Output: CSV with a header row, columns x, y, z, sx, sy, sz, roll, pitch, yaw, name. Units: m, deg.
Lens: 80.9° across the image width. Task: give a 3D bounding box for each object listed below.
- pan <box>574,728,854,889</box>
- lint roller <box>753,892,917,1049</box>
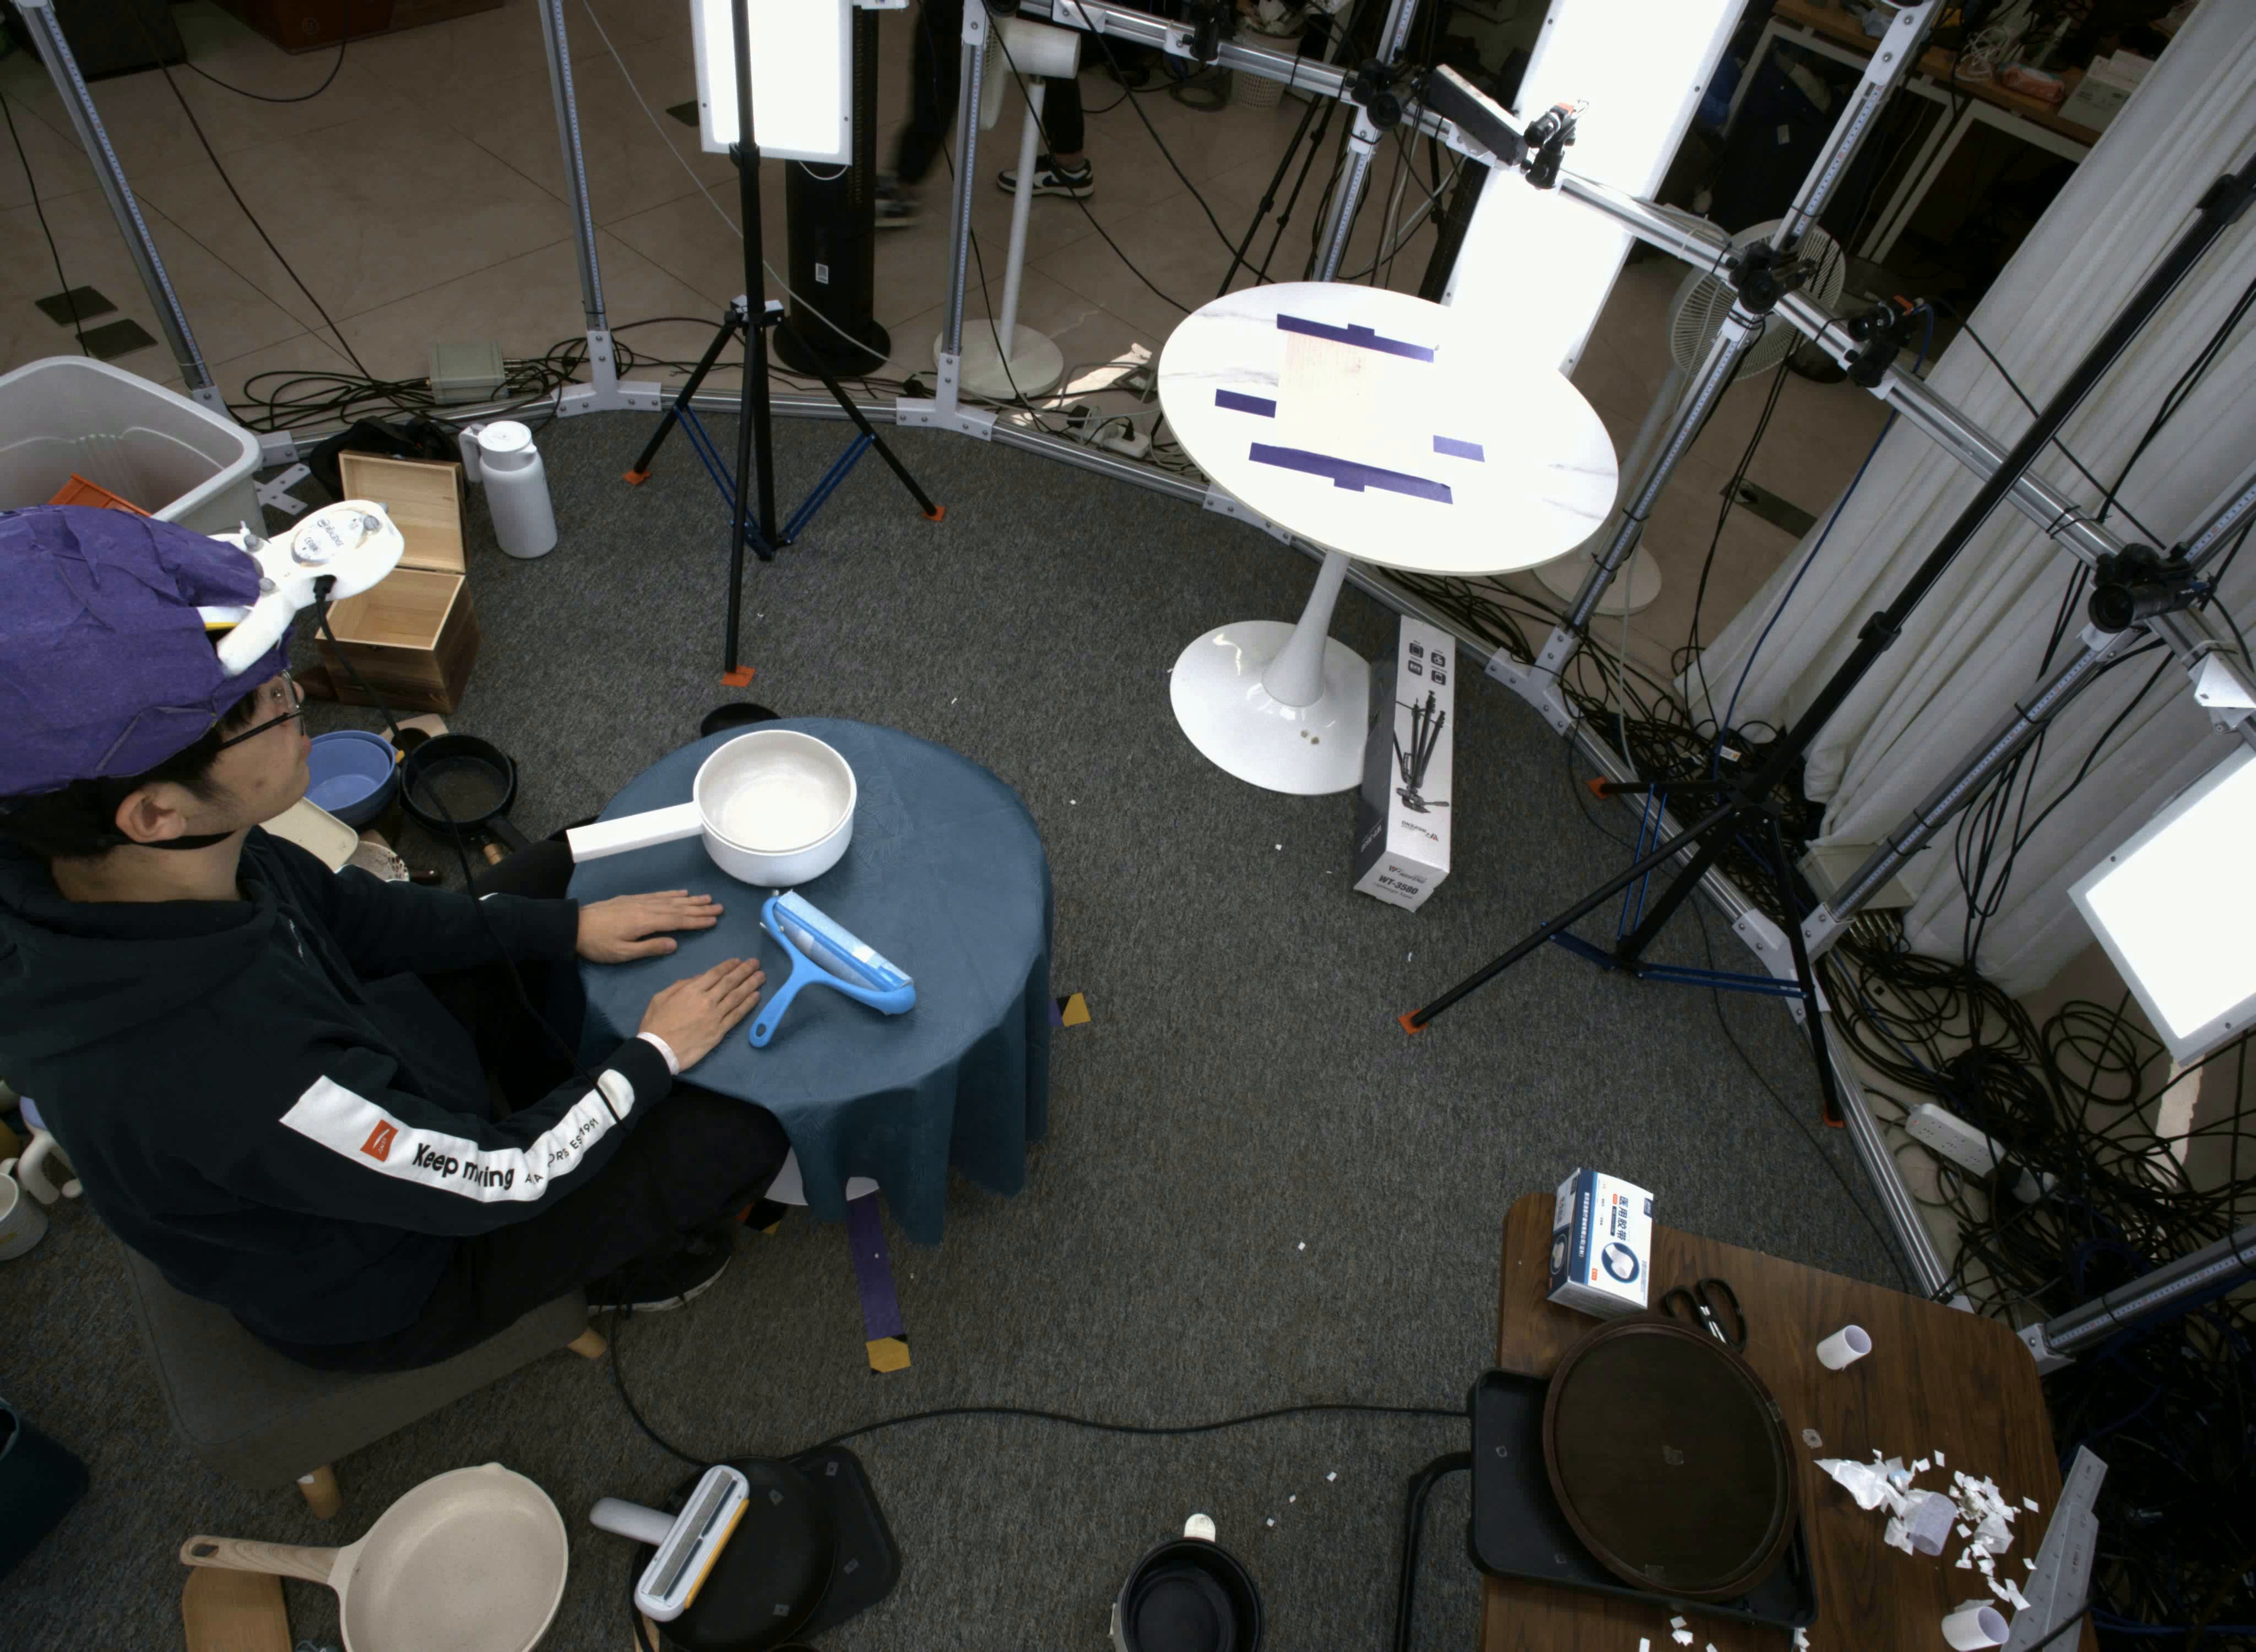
x,y,z,sx,sy,sz,roll,pitch,yaw,name
-0.523,0.000,1.640,0.356,0.104,0.196,-16,60,-24,pan
-0.385,0.188,1.565,0.225,0.069,0.180,32,52,8,lint roller
